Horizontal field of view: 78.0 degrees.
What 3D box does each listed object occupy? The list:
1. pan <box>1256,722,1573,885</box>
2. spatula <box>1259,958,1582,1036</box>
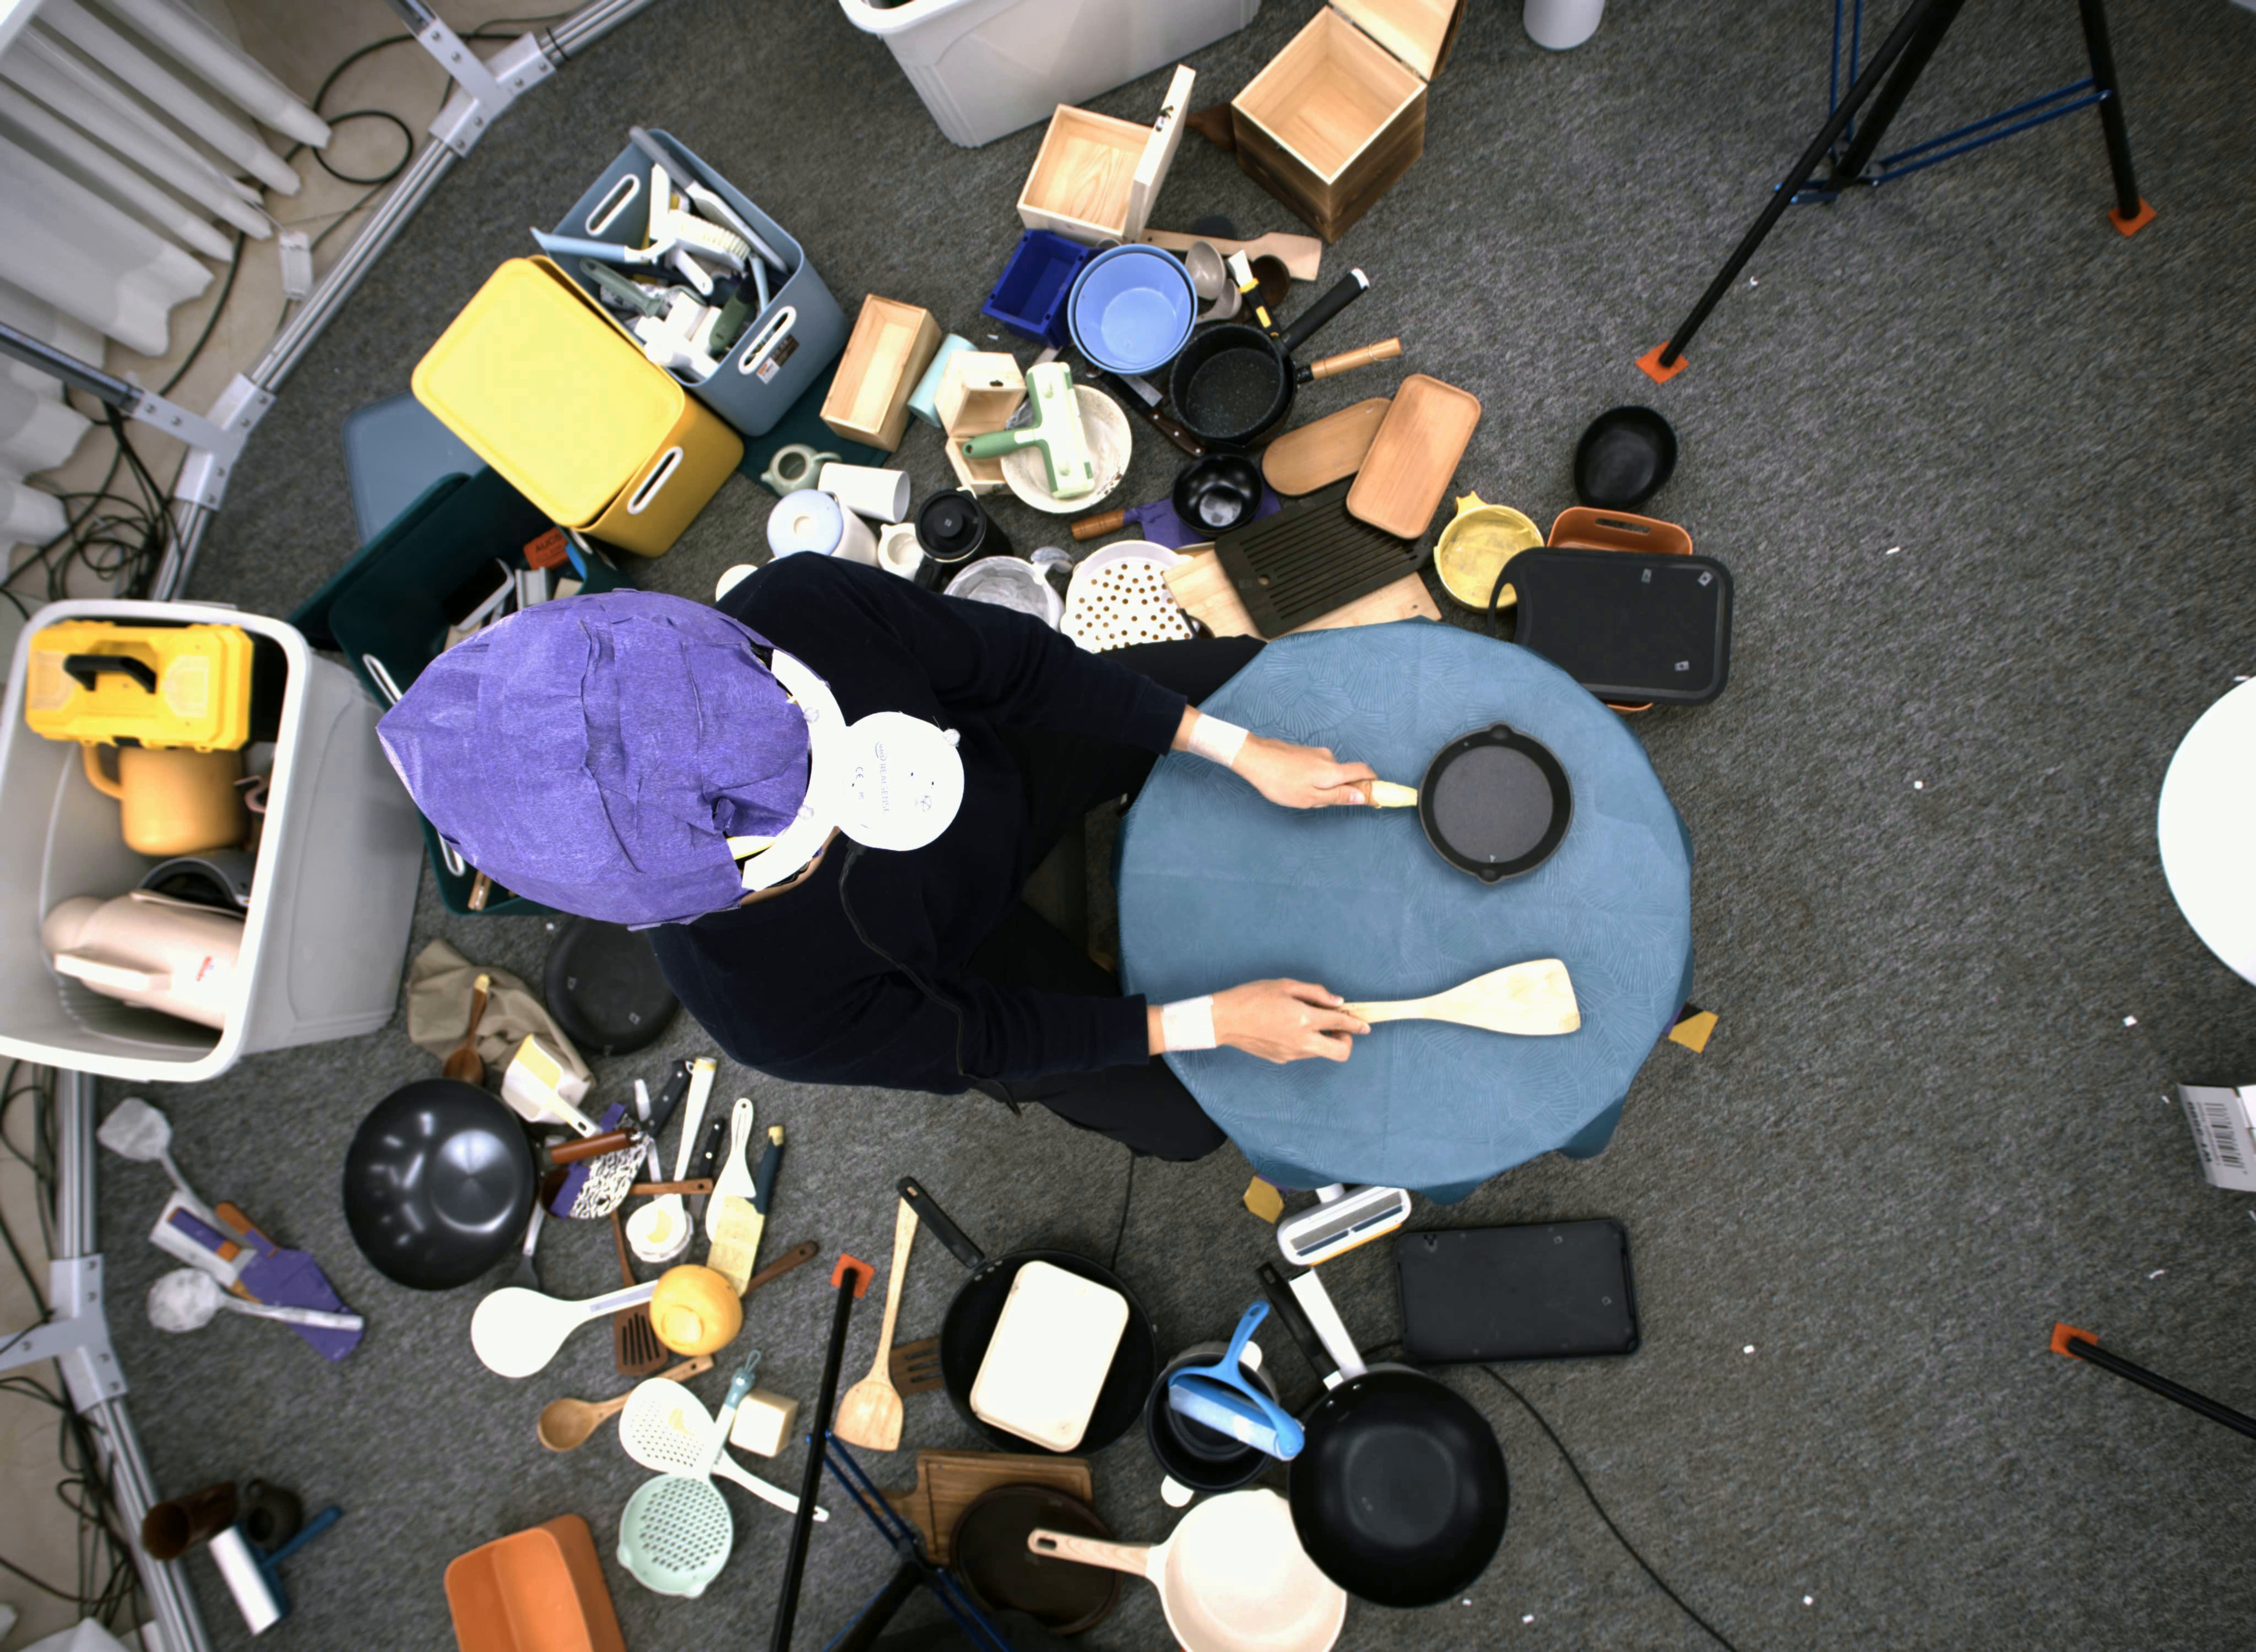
[{"bbox_3d":[0.295,-0.035,1.429,0.325,0.049,0.169,7,92,8],"label":"pan"},{"bbox_3d":[0.297,0.185,1.413,0.328,0.016,0.080,-6,96,3],"label":"spatula"}]
